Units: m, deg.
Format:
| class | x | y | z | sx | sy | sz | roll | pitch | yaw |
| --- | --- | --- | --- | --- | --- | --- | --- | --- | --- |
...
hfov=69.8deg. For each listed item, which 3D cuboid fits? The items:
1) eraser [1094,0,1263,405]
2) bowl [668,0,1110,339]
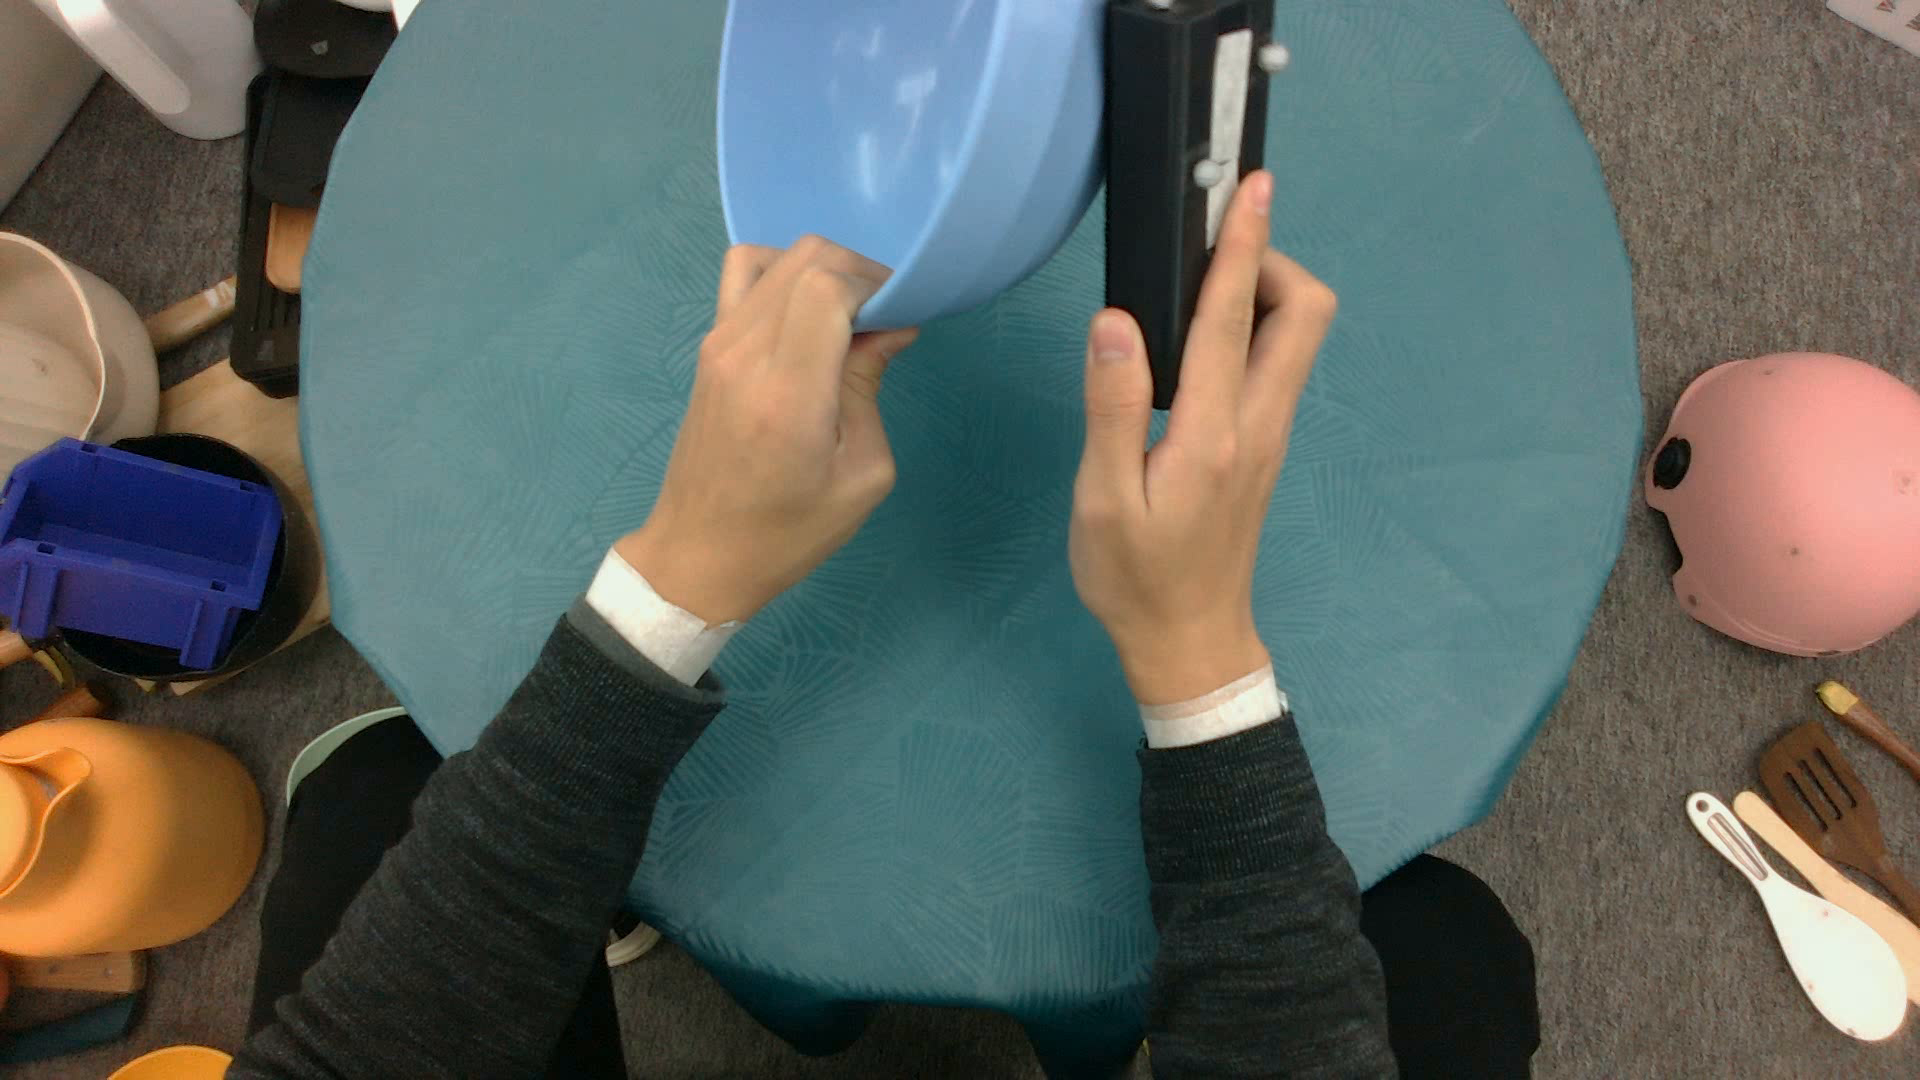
| class | x | y | z | sx | sy | sz | roll | pitch | yaw |
| --- | --- | --- | --- | --- | --- | --- | --- | --- | --- |
| eraser | 0.069 | -0.110 | 0.445 | 0.054 | 0.125 | 0.030 | -30 | 41 | -34 |
| bowl | -0.015 | -0.165 | 0.477 | 0.096 | 0.195 | 0.197 | -1 | 74 | -39 |
